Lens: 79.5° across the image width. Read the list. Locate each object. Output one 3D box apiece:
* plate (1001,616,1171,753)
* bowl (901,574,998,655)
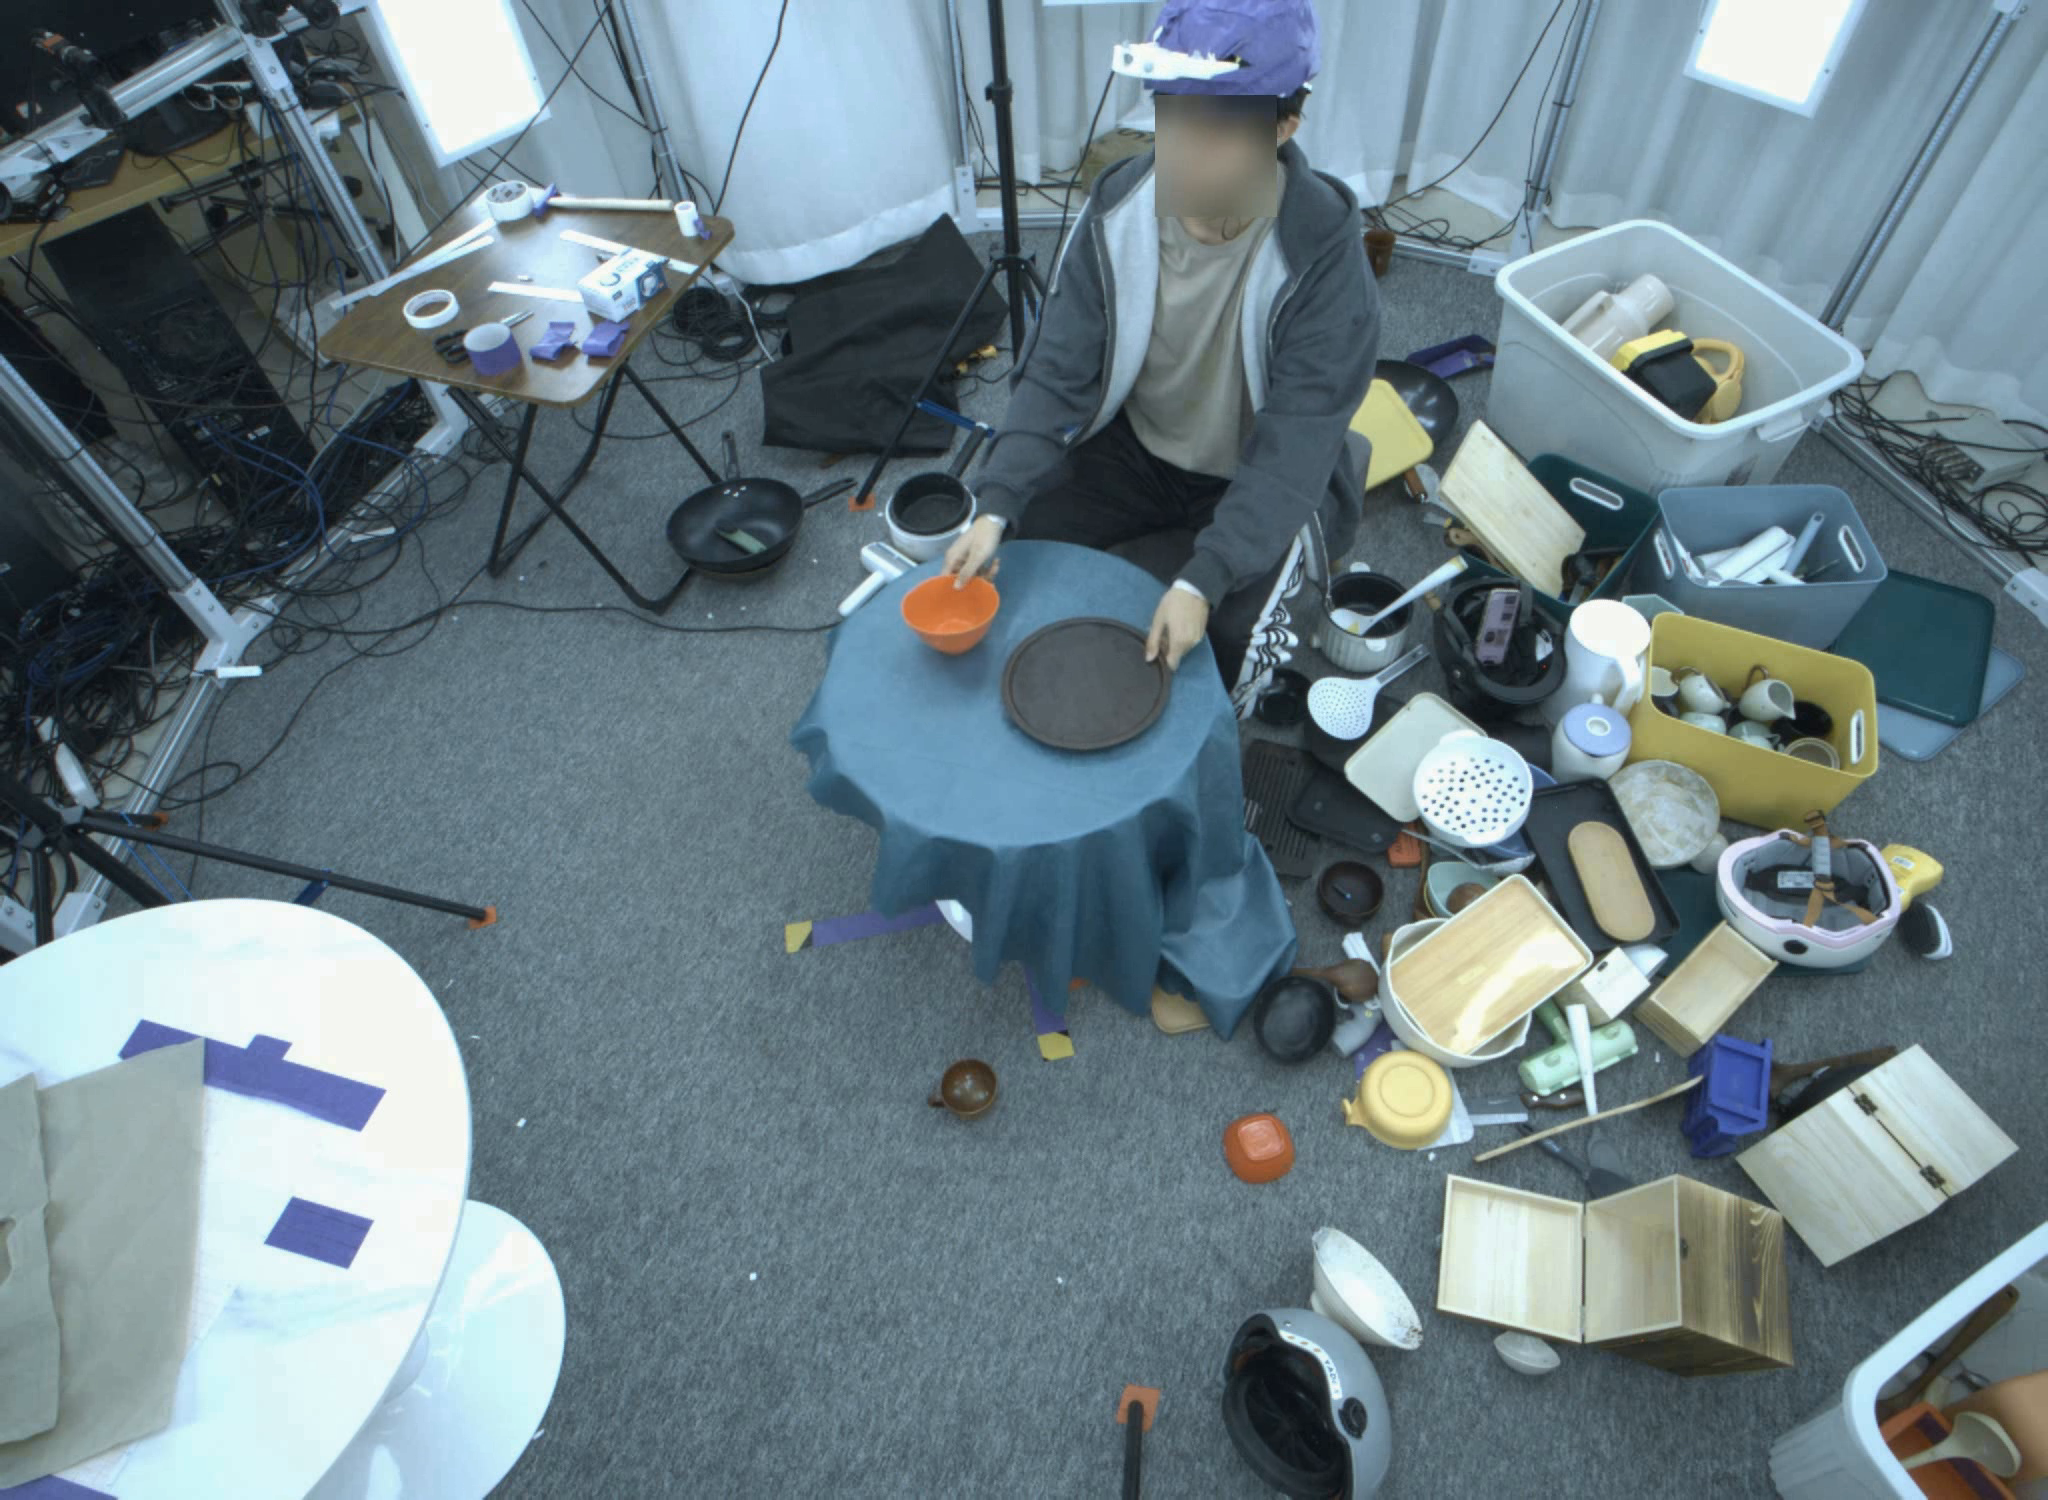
[{"bbox_3d":[0.092,-0.099,1.839,0.254,0.029,0.252,-2,55,4],"label":"plate"},{"bbox_3d":[-0.109,-0.194,1.869,0.148,0.106,0.146,-1,55,3],"label":"bowl"}]
